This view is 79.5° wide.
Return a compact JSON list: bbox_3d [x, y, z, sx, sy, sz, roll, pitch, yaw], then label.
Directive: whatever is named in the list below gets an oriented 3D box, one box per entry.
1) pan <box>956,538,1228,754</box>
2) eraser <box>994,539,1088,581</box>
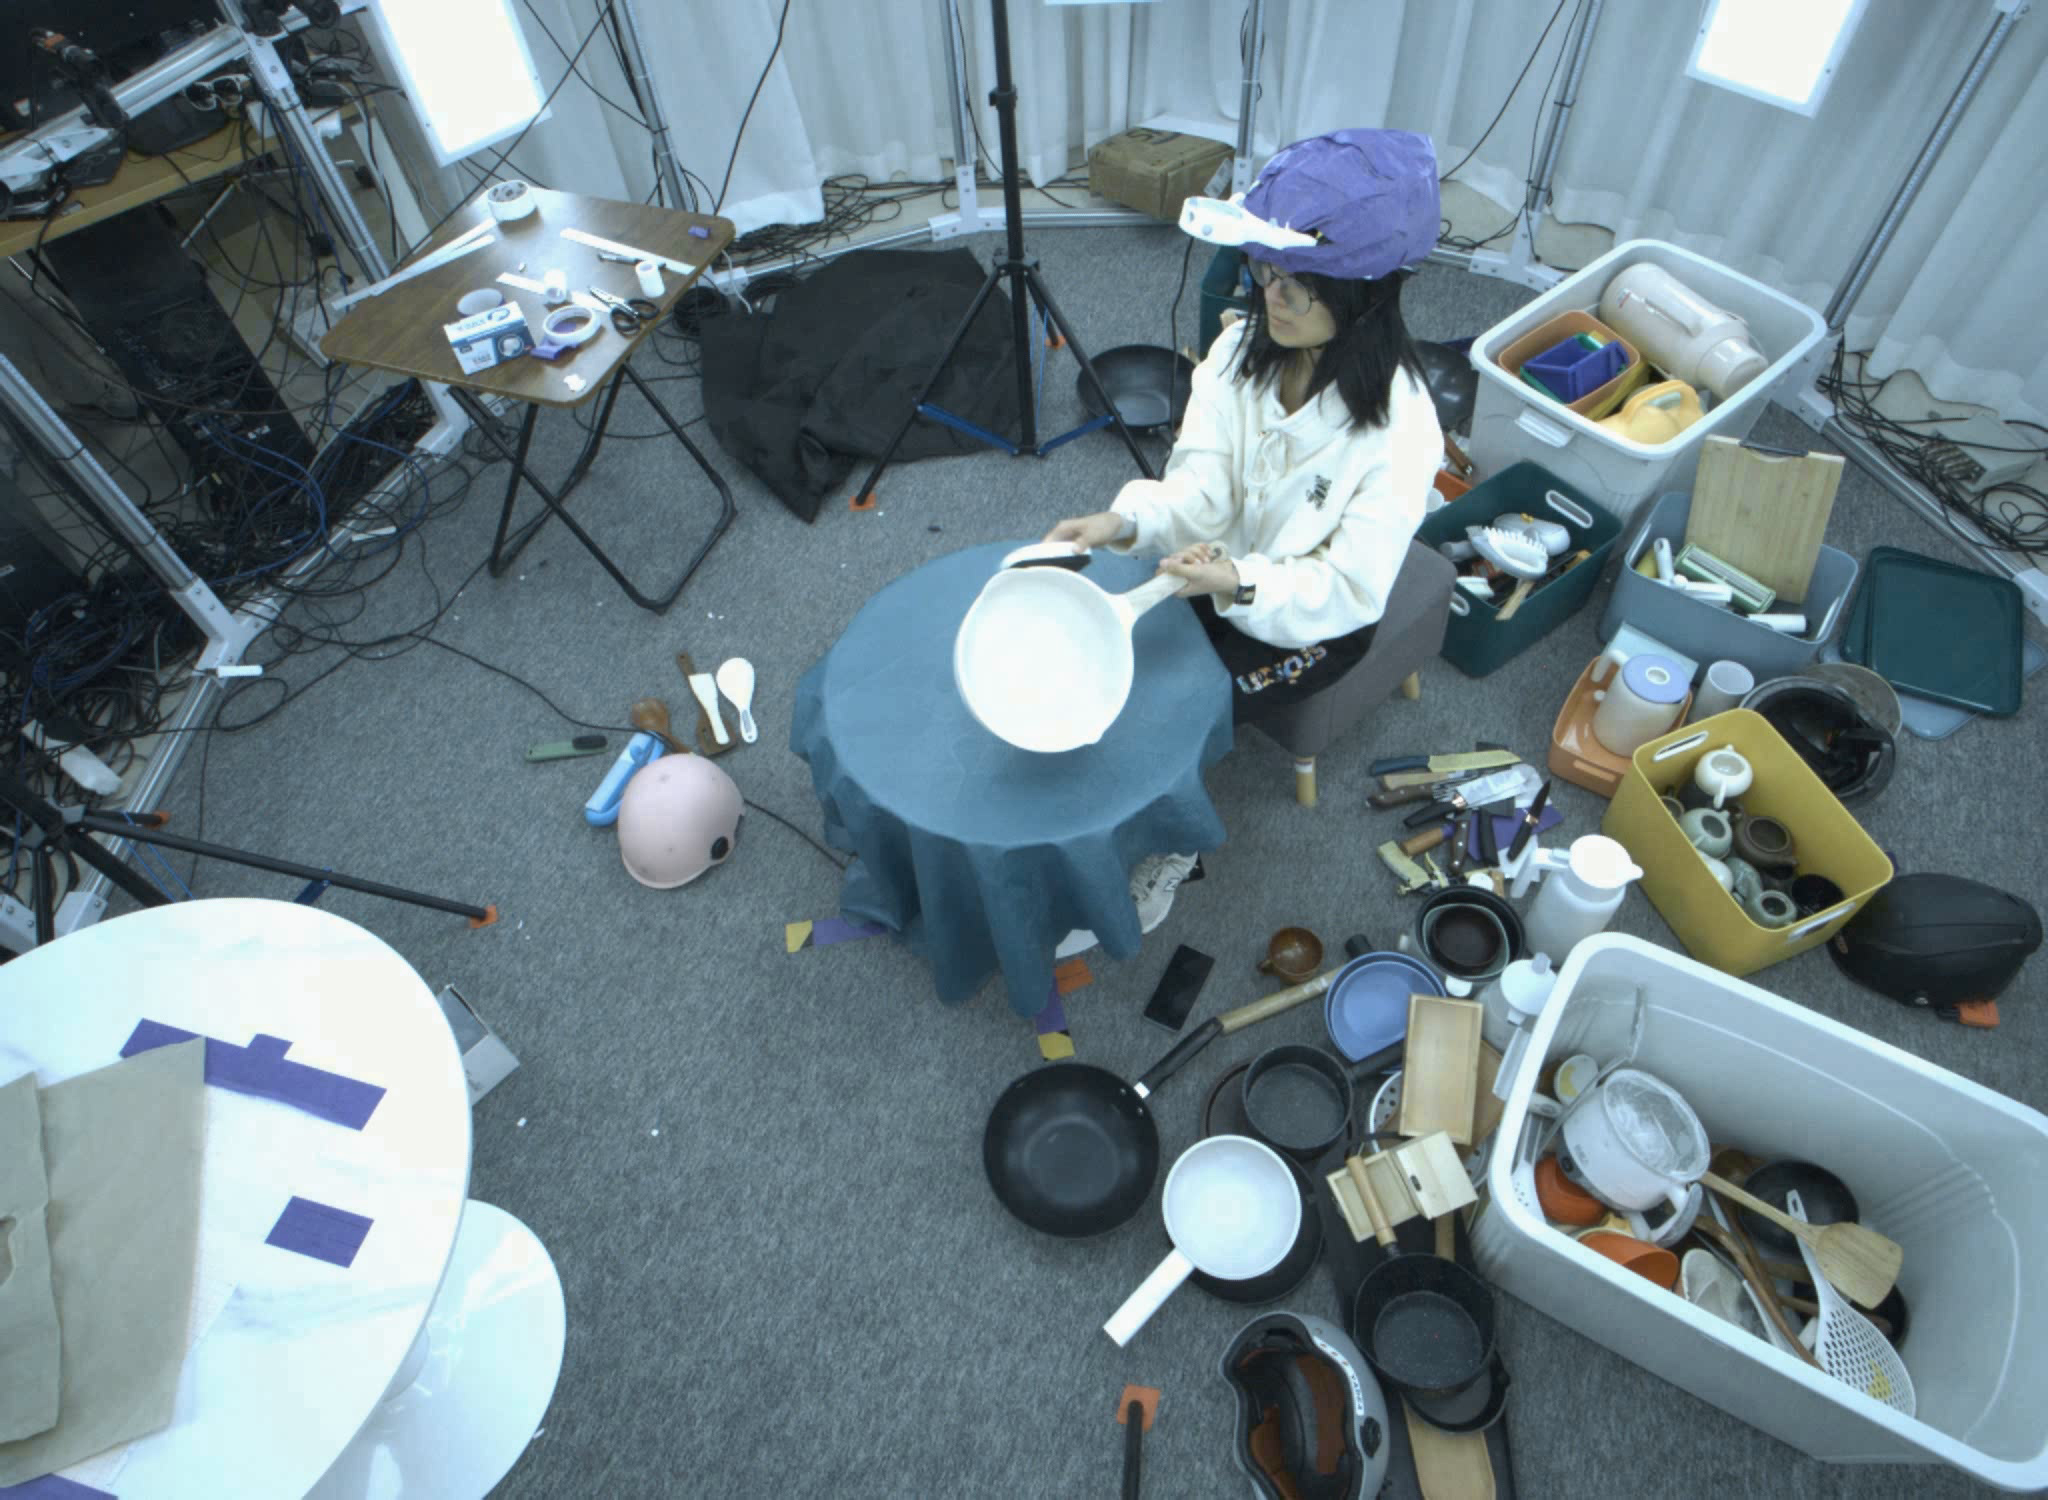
[{"bbox_3d":[0.098,-0.168,1.708,0.438,0.100,0.265,-35,100,-17],"label":"pan"},{"bbox_3d":[0.025,-0.261,1.686,0.133,0.062,0.034,-13,85,-32],"label":"eraser"}]
